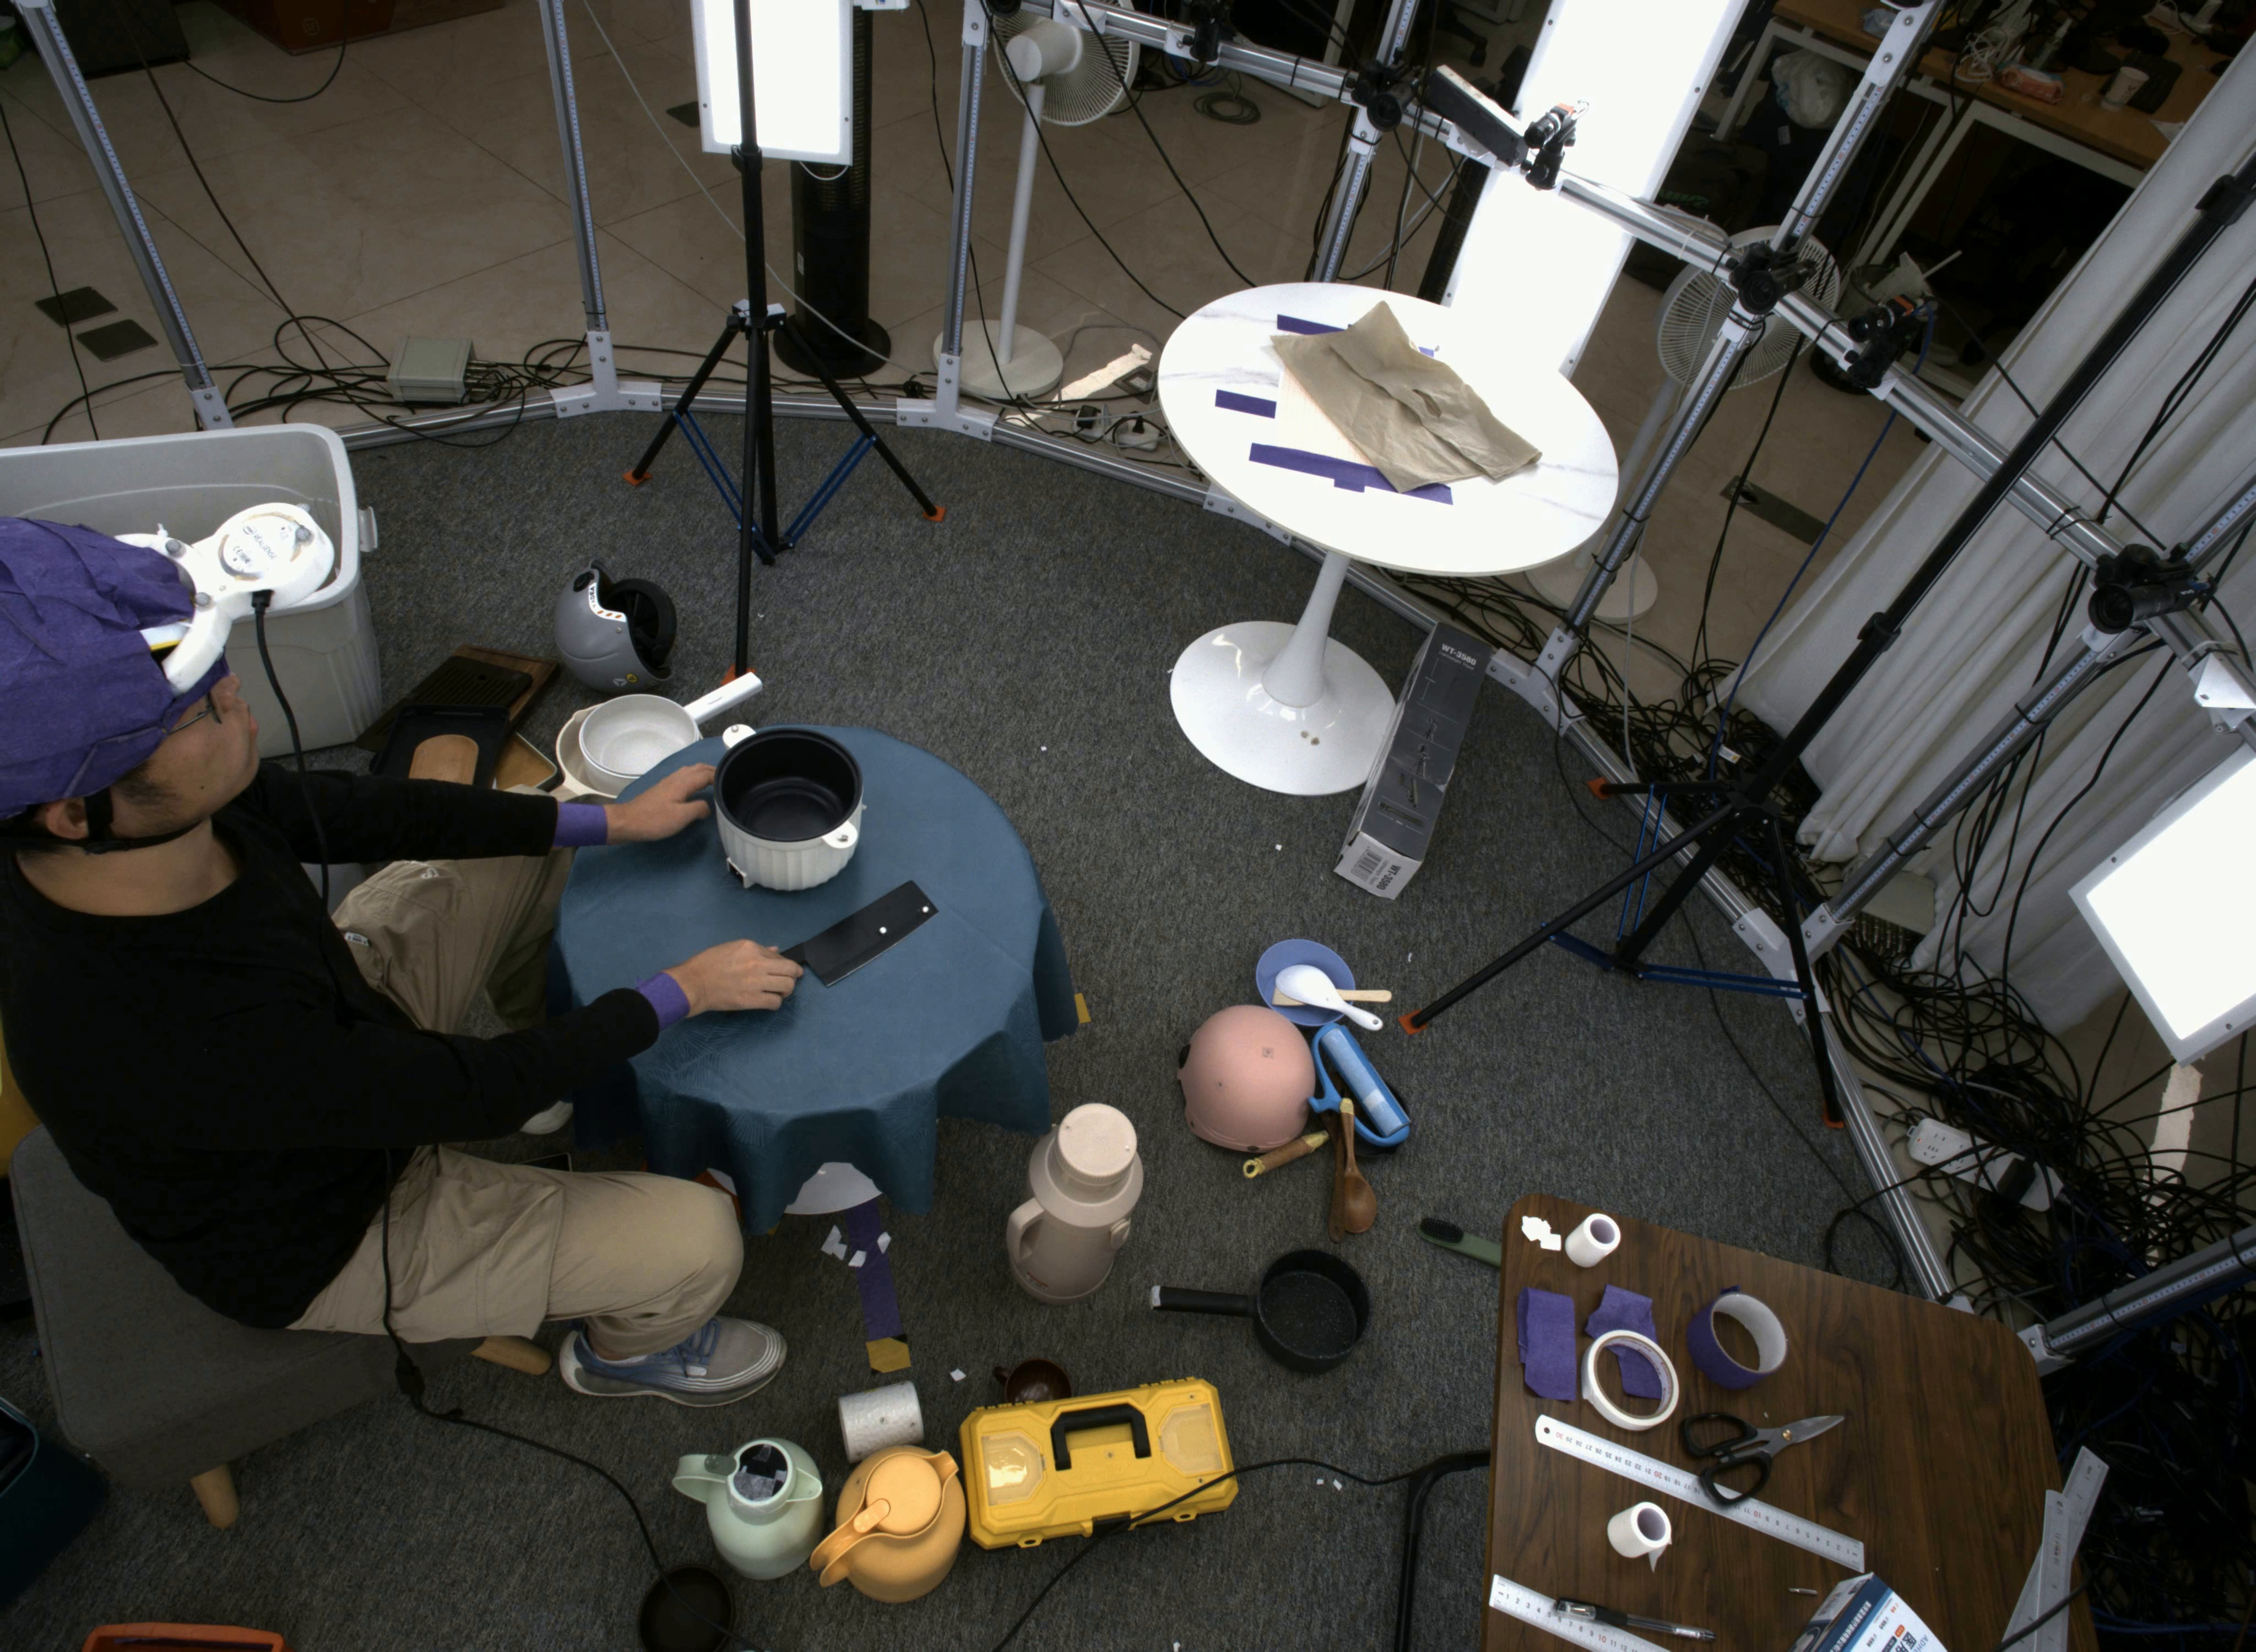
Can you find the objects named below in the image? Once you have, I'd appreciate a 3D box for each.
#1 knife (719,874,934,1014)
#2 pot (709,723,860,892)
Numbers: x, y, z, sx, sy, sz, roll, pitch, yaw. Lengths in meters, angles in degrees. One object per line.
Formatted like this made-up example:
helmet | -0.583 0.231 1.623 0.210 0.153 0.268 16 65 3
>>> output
knife | -0.374 0.148 1.614 0.304 0.021 0.079 -29 70 -33
pot | -0.427 -0.019 1.646 0.235 0.145 0.190 40 58 16
